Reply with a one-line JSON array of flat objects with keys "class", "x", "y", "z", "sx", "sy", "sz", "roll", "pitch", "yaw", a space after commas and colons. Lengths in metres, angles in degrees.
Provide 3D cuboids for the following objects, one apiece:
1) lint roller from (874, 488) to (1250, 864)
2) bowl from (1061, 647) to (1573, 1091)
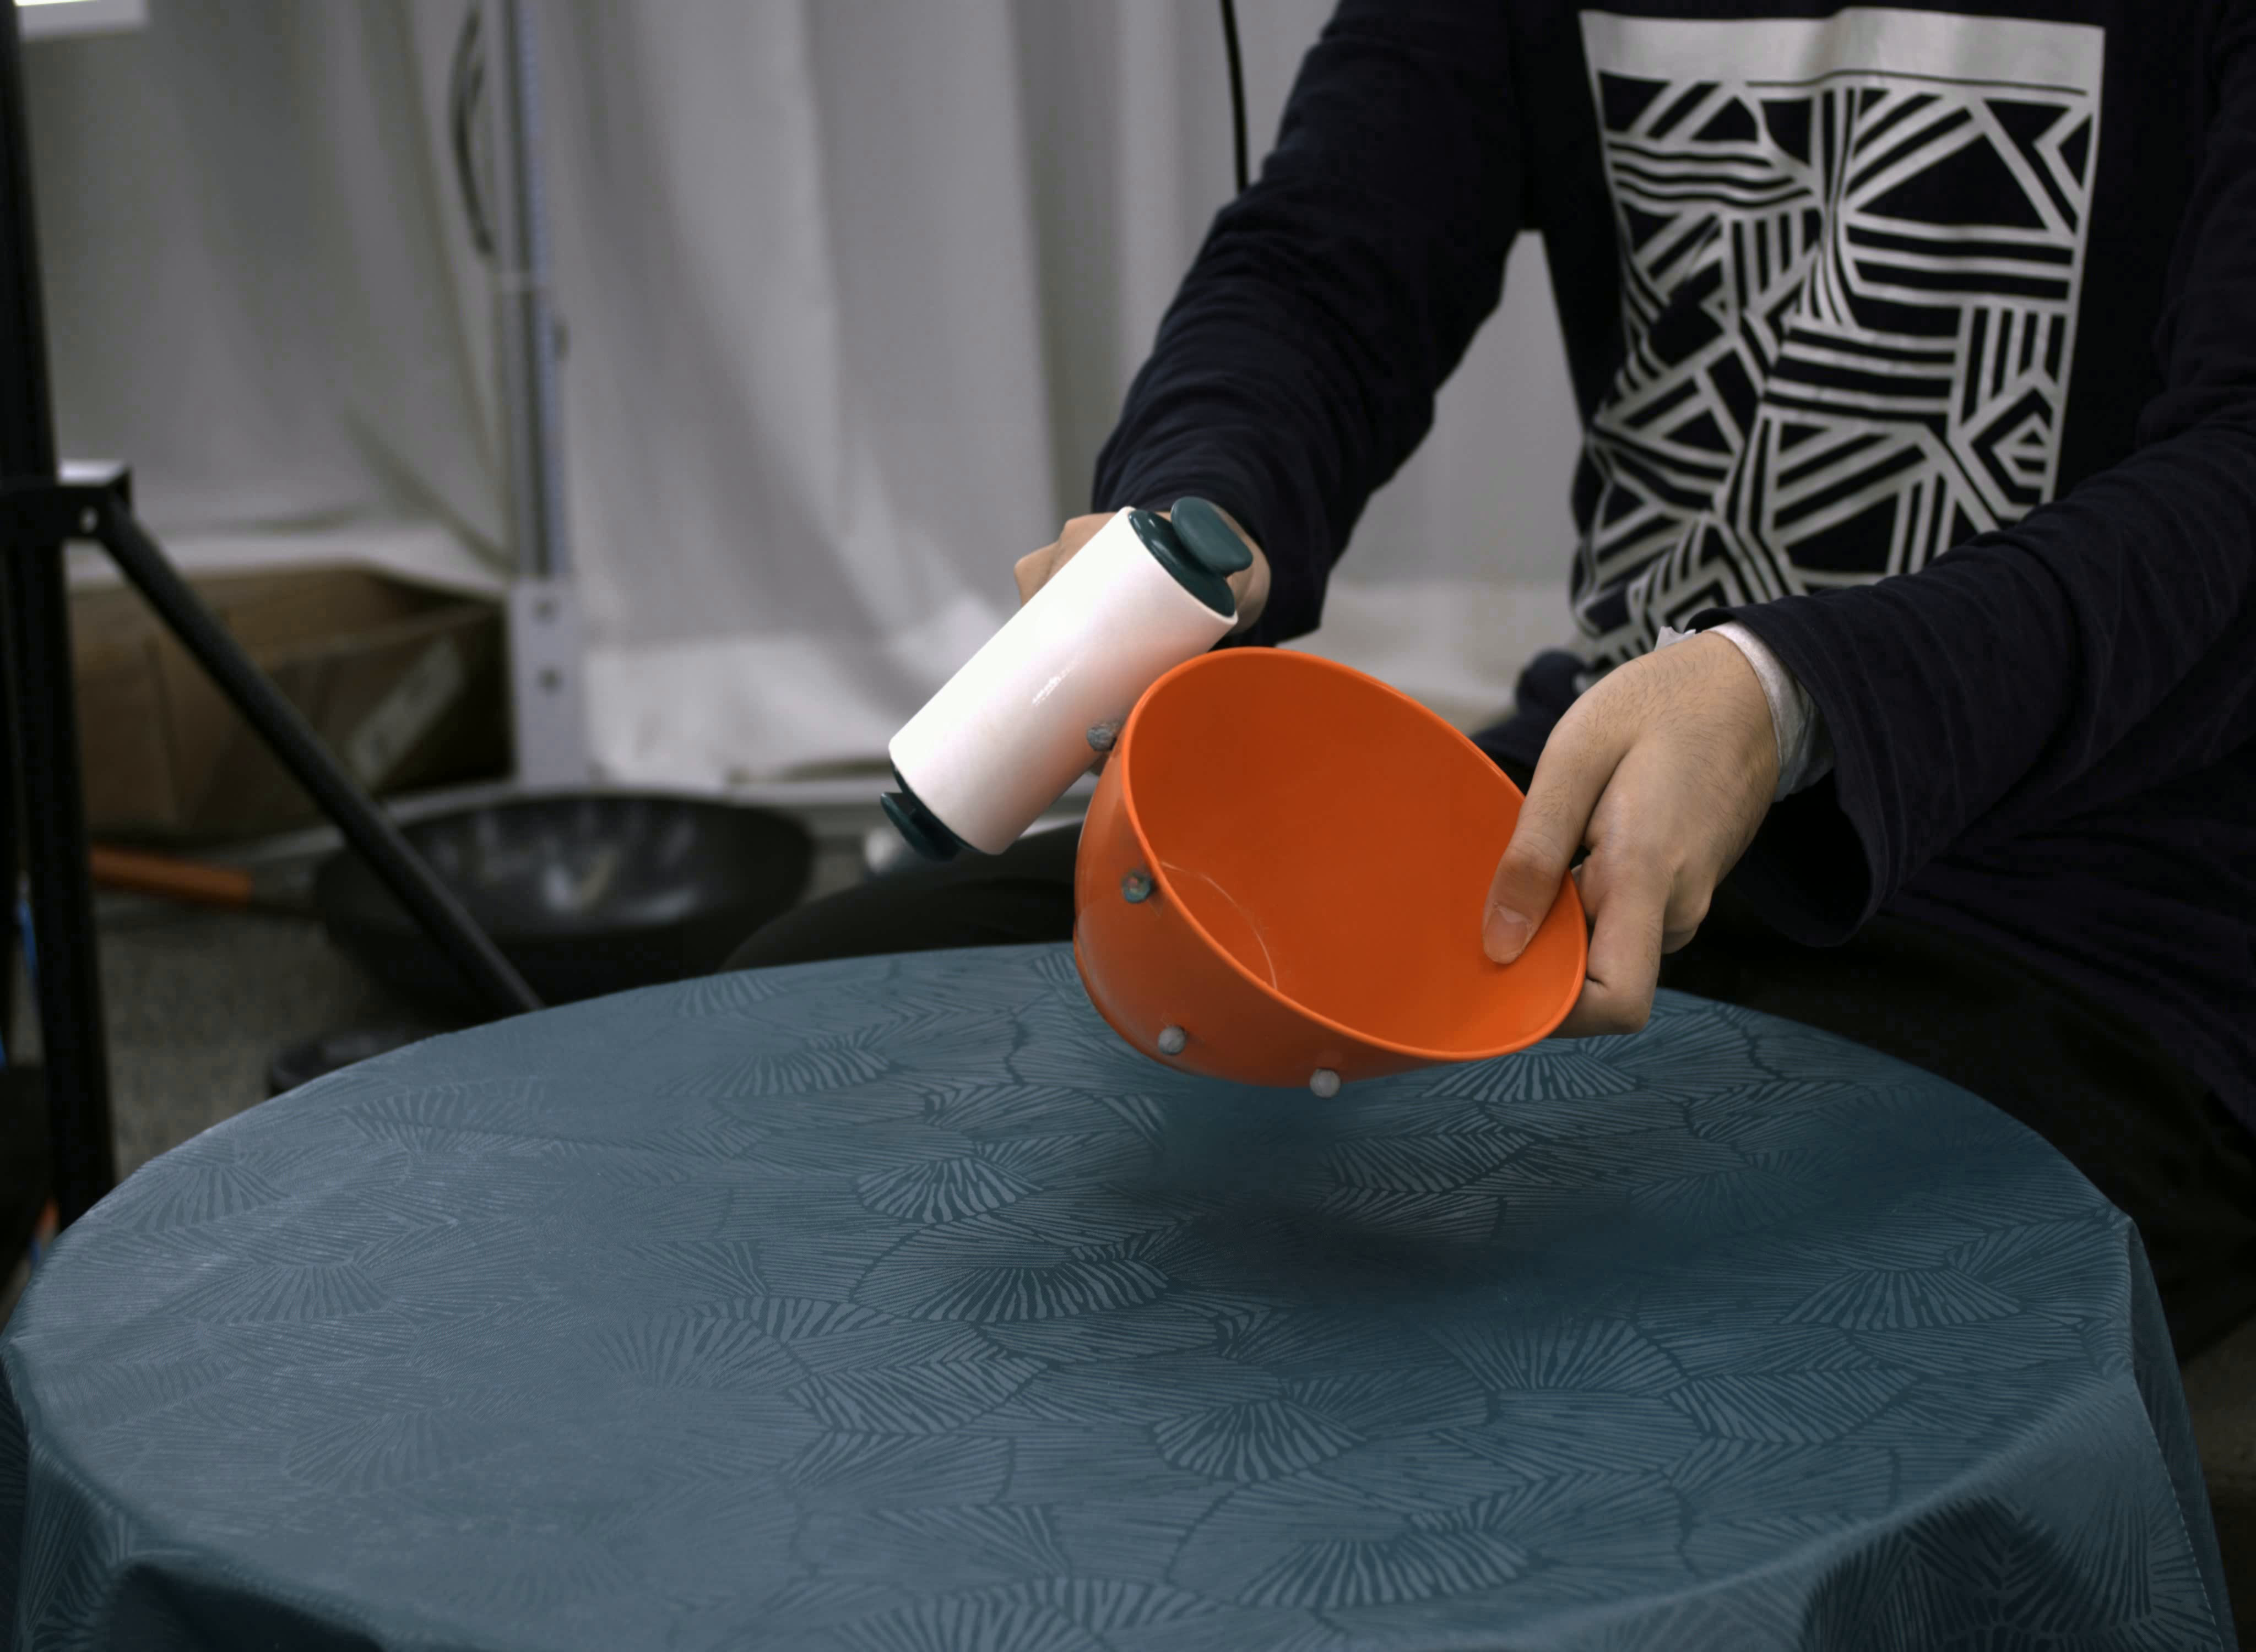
[{"class": "lint roller", "x": -0.007, "y": -0.050, "z": 1.610, "sx": 0.135, "sy": 0.048, "sz": 0.178, "roll": -44, "pitch": -2, "yaw": 13}, {"class": "bowl", "x": 0.040, "y": 0.028, "z": 1.509, "sx": 0.145, "sy": 0.149, "sz": 0.106, "roll": -18, "pitch": -19, "yaw": -45}]
